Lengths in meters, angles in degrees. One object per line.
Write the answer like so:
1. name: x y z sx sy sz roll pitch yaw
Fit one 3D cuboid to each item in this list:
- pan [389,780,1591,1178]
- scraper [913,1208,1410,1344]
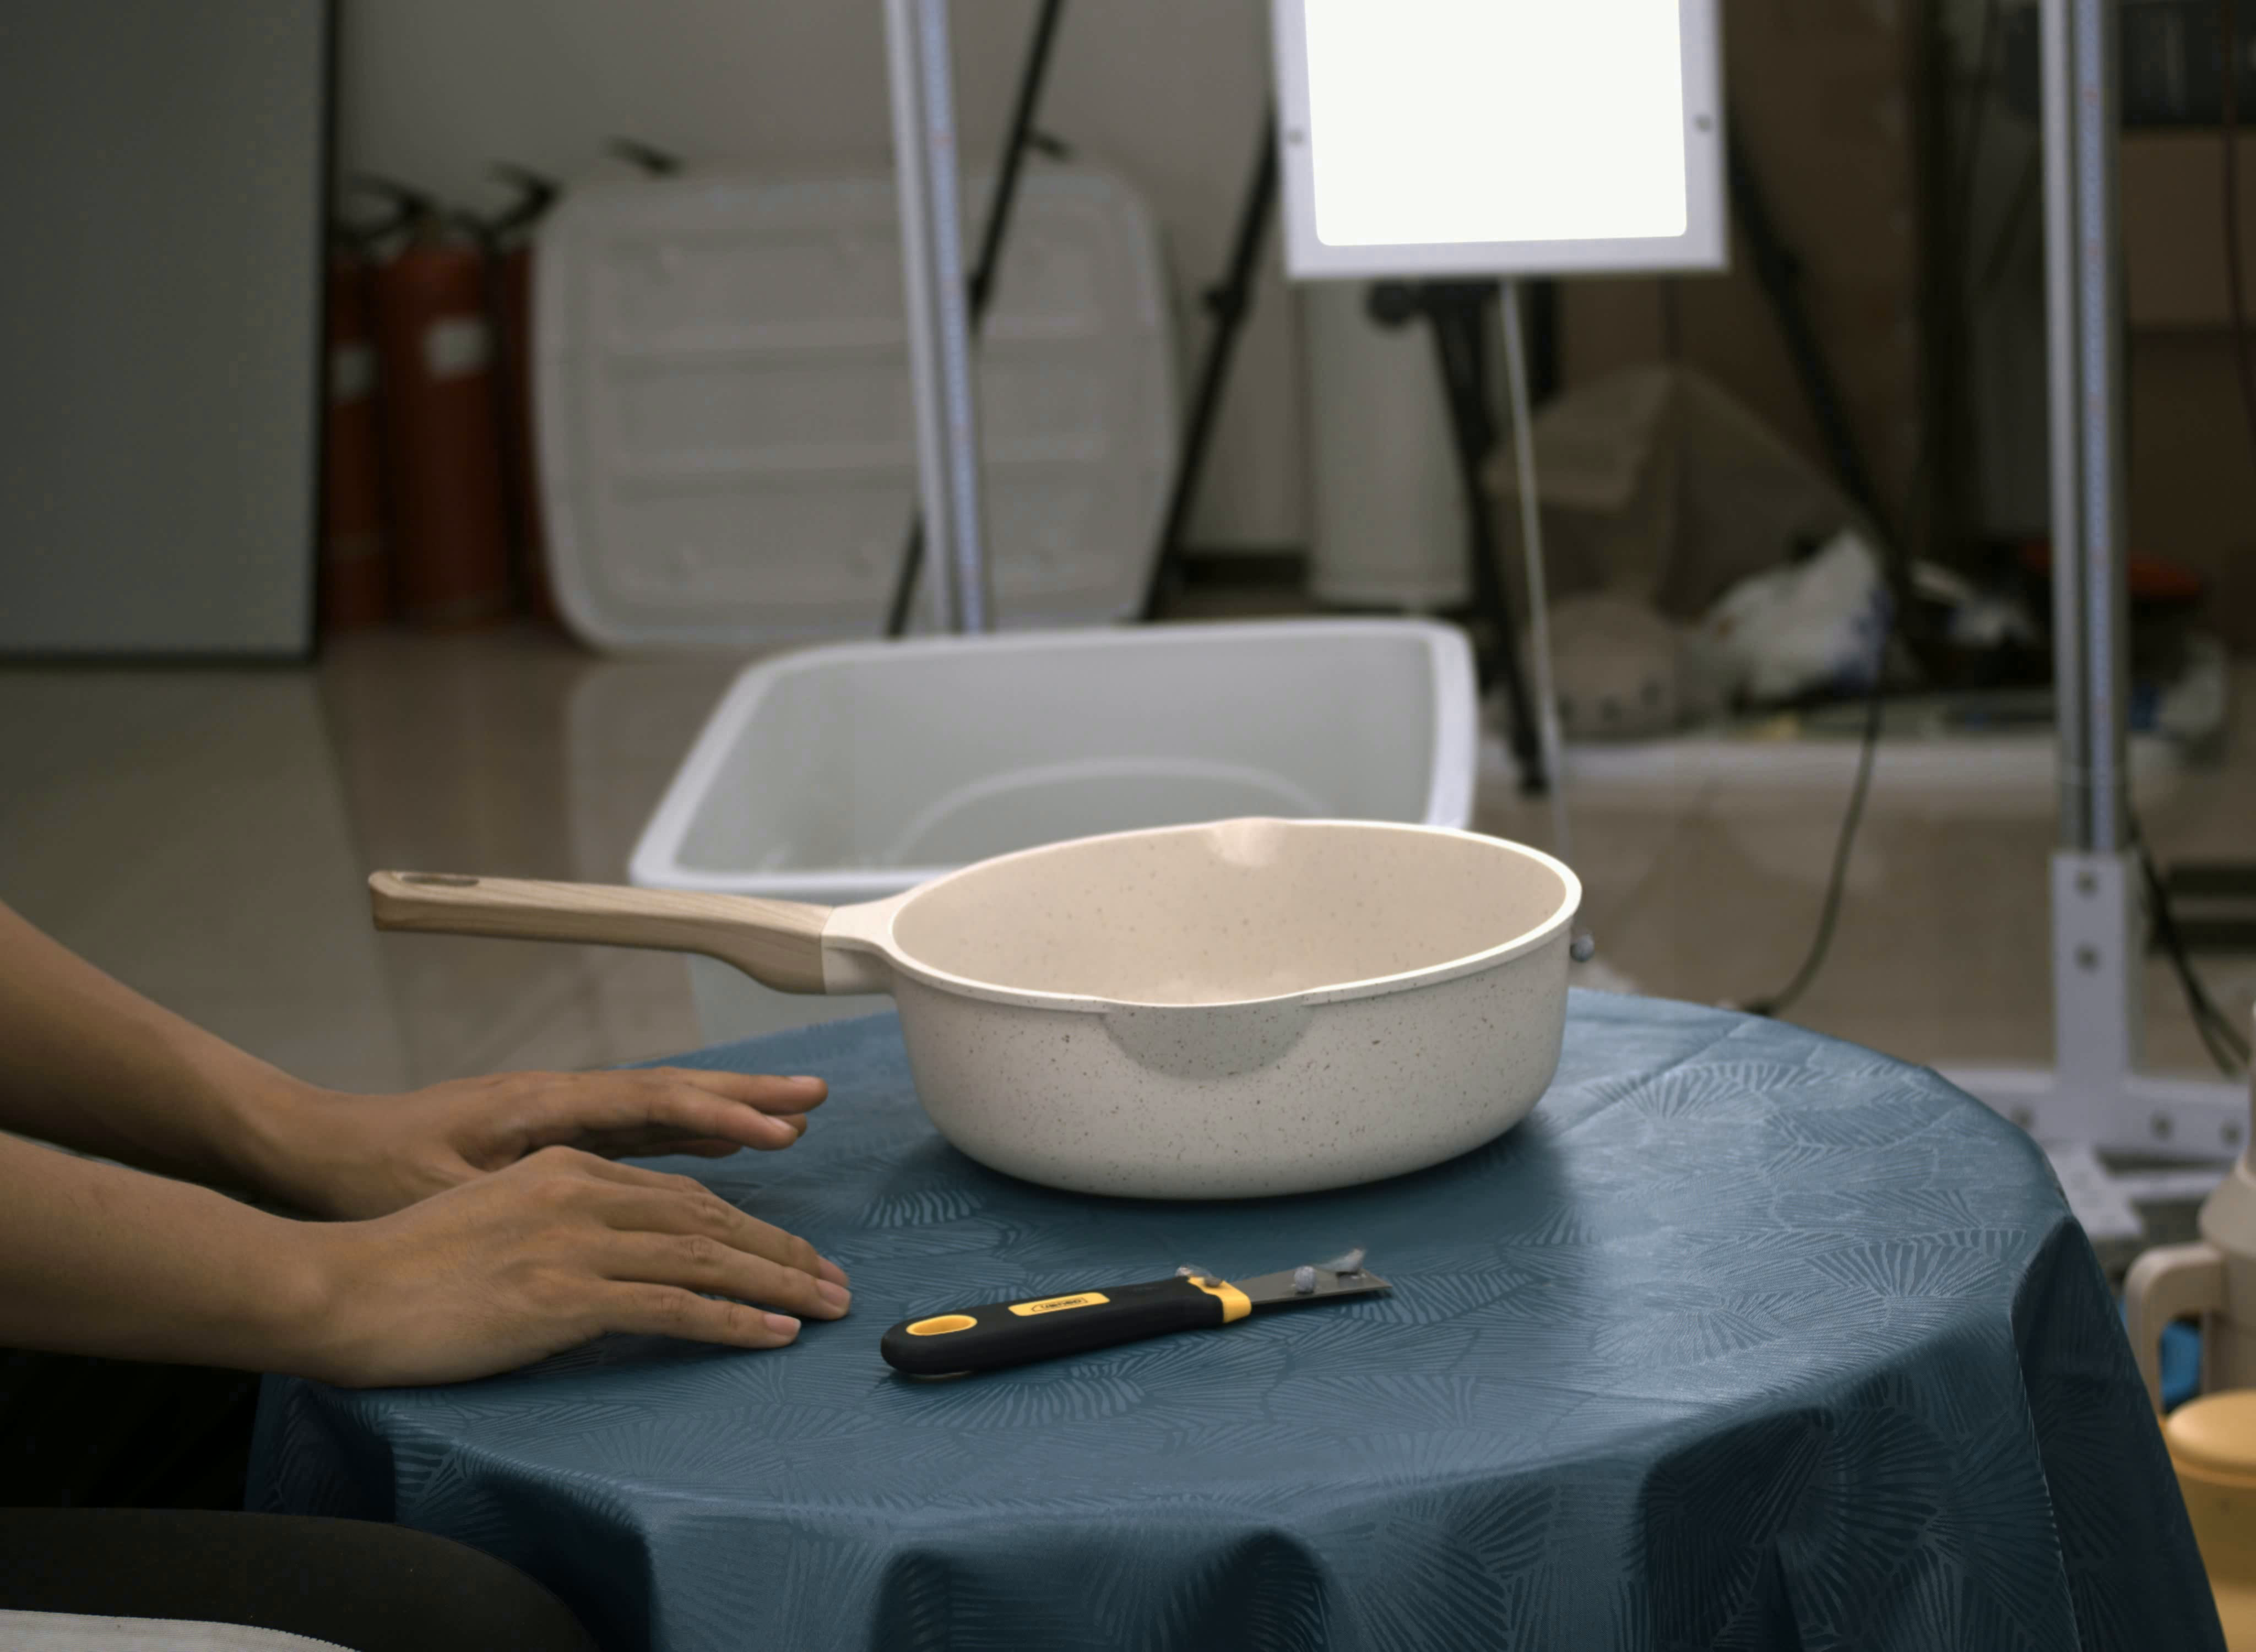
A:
1. pan: -0.048 0.055 1.989 0.436 0.102 0.261 -3 16 7
2. scraper: 0.010 0.144 1.763 0.167 0.015 0.039 -8 18 -23
